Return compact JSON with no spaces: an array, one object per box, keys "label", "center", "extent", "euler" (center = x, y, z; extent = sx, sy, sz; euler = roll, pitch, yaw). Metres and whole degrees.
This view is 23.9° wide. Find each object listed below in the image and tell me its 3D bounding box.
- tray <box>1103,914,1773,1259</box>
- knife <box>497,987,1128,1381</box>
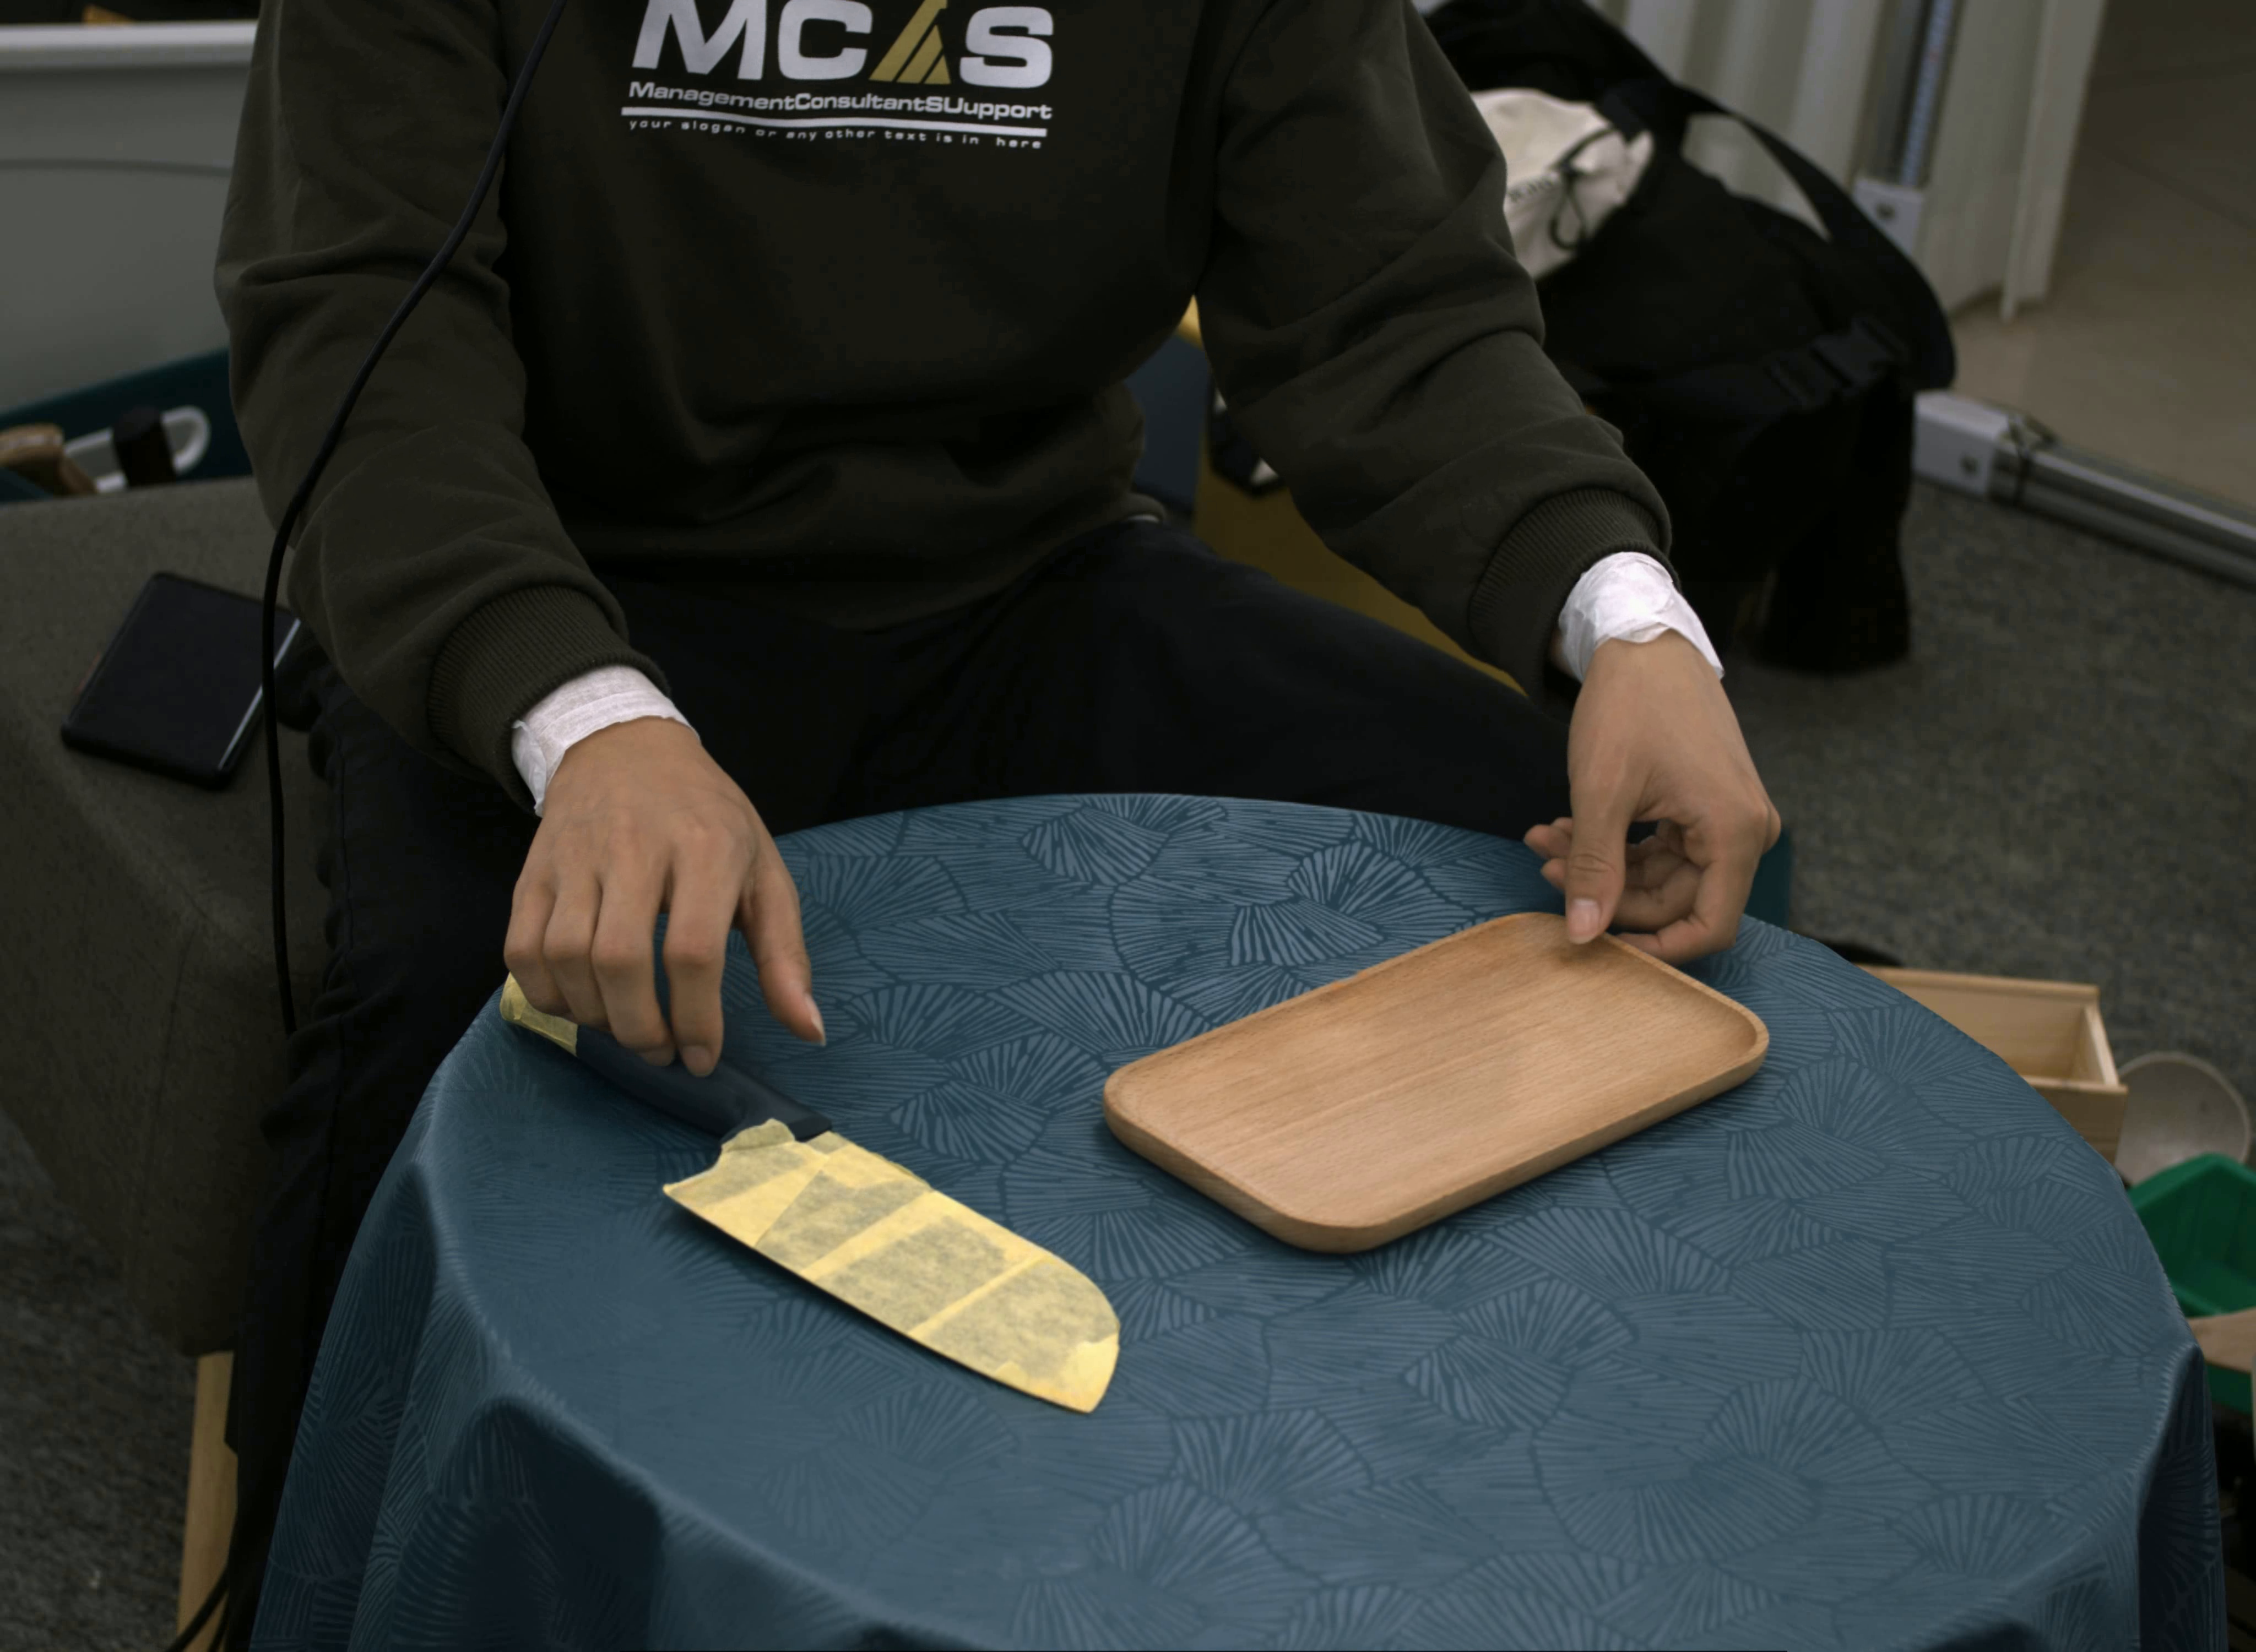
[{"label":"tray","center":[0.112,0.090,1.880],"extent":[0.249,0.023,0.131],"euler":[-20,34,-41]},{"label":"knife","center":[-0.113,0.120,1.771],"extent":[0.291,0.027,0.080],"euler":[27,31,33]}]
